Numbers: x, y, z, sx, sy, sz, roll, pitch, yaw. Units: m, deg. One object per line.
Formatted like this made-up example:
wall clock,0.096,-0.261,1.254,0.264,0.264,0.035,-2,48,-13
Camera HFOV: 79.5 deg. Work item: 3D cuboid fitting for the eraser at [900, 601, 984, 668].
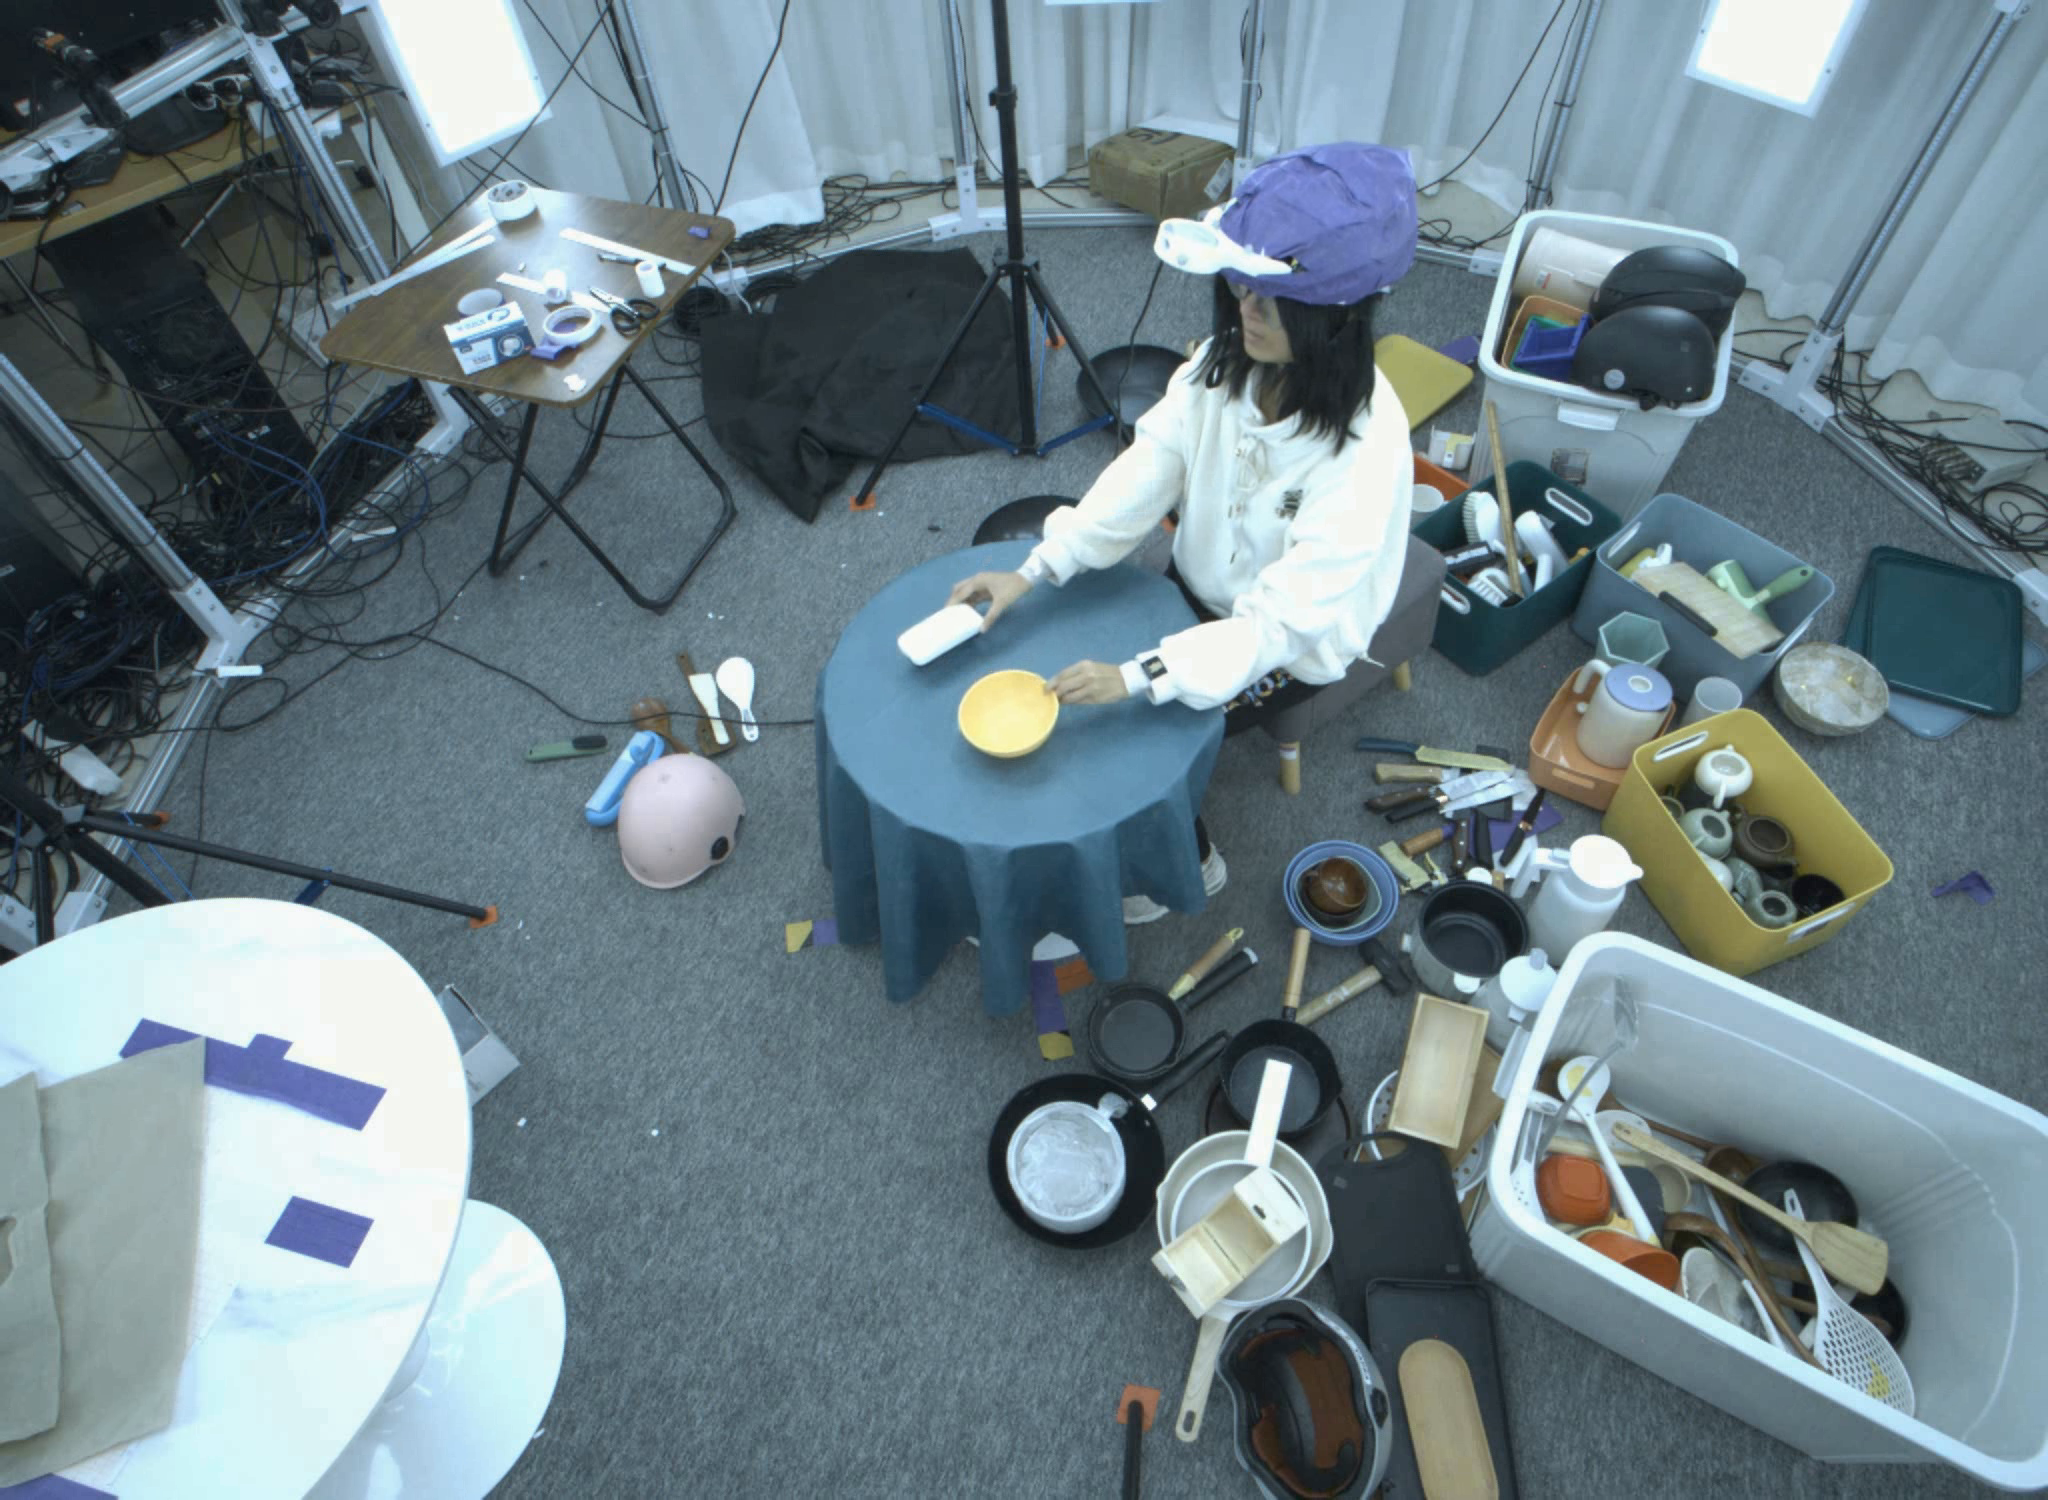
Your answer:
eraser,-0.123,-0.176,1.861,0.132,0.035,0.062,-34,59,-22

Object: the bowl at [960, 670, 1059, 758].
bowl,-0.016,-0.041,1.778,0.144,0.061,0.144,-4,59,8
